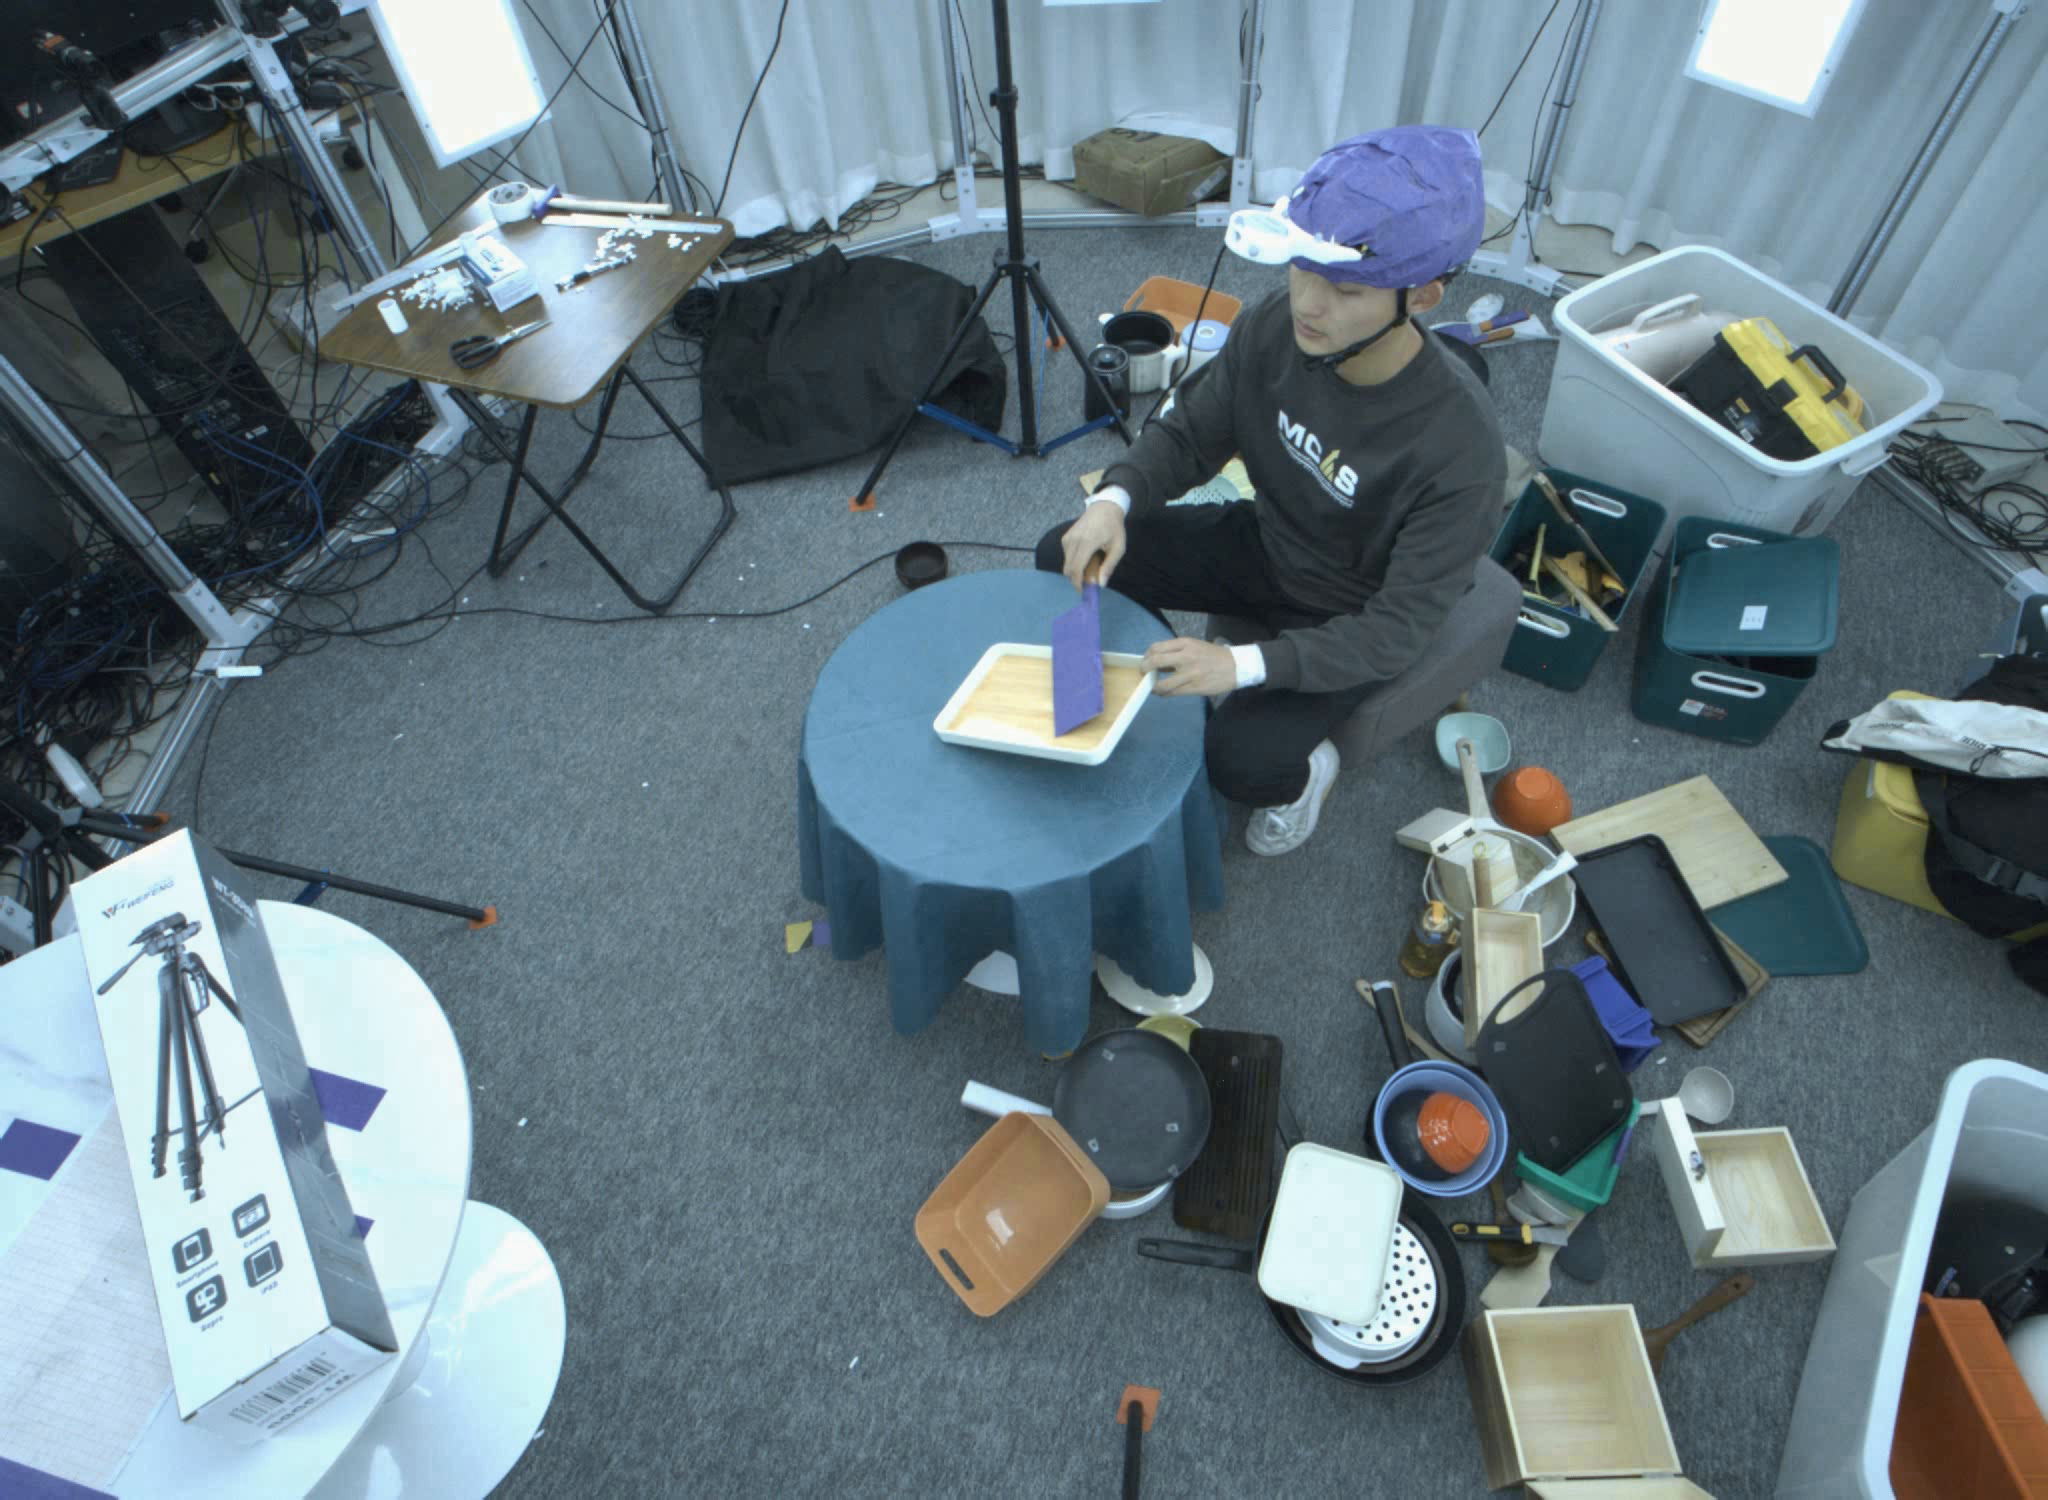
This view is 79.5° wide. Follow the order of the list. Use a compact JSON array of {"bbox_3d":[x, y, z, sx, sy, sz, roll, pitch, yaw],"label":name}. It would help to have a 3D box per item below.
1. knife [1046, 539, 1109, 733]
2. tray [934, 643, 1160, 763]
[{"bbox_3d":[0.073,-0.167,1.763,0.102,0.033,0.312,-26,48,33],"label":"knife"},{"bbox_3d":[0.030,-0.073,1.763,0.294,0.028,0.192,9,51,36],"label":"tray"}]
